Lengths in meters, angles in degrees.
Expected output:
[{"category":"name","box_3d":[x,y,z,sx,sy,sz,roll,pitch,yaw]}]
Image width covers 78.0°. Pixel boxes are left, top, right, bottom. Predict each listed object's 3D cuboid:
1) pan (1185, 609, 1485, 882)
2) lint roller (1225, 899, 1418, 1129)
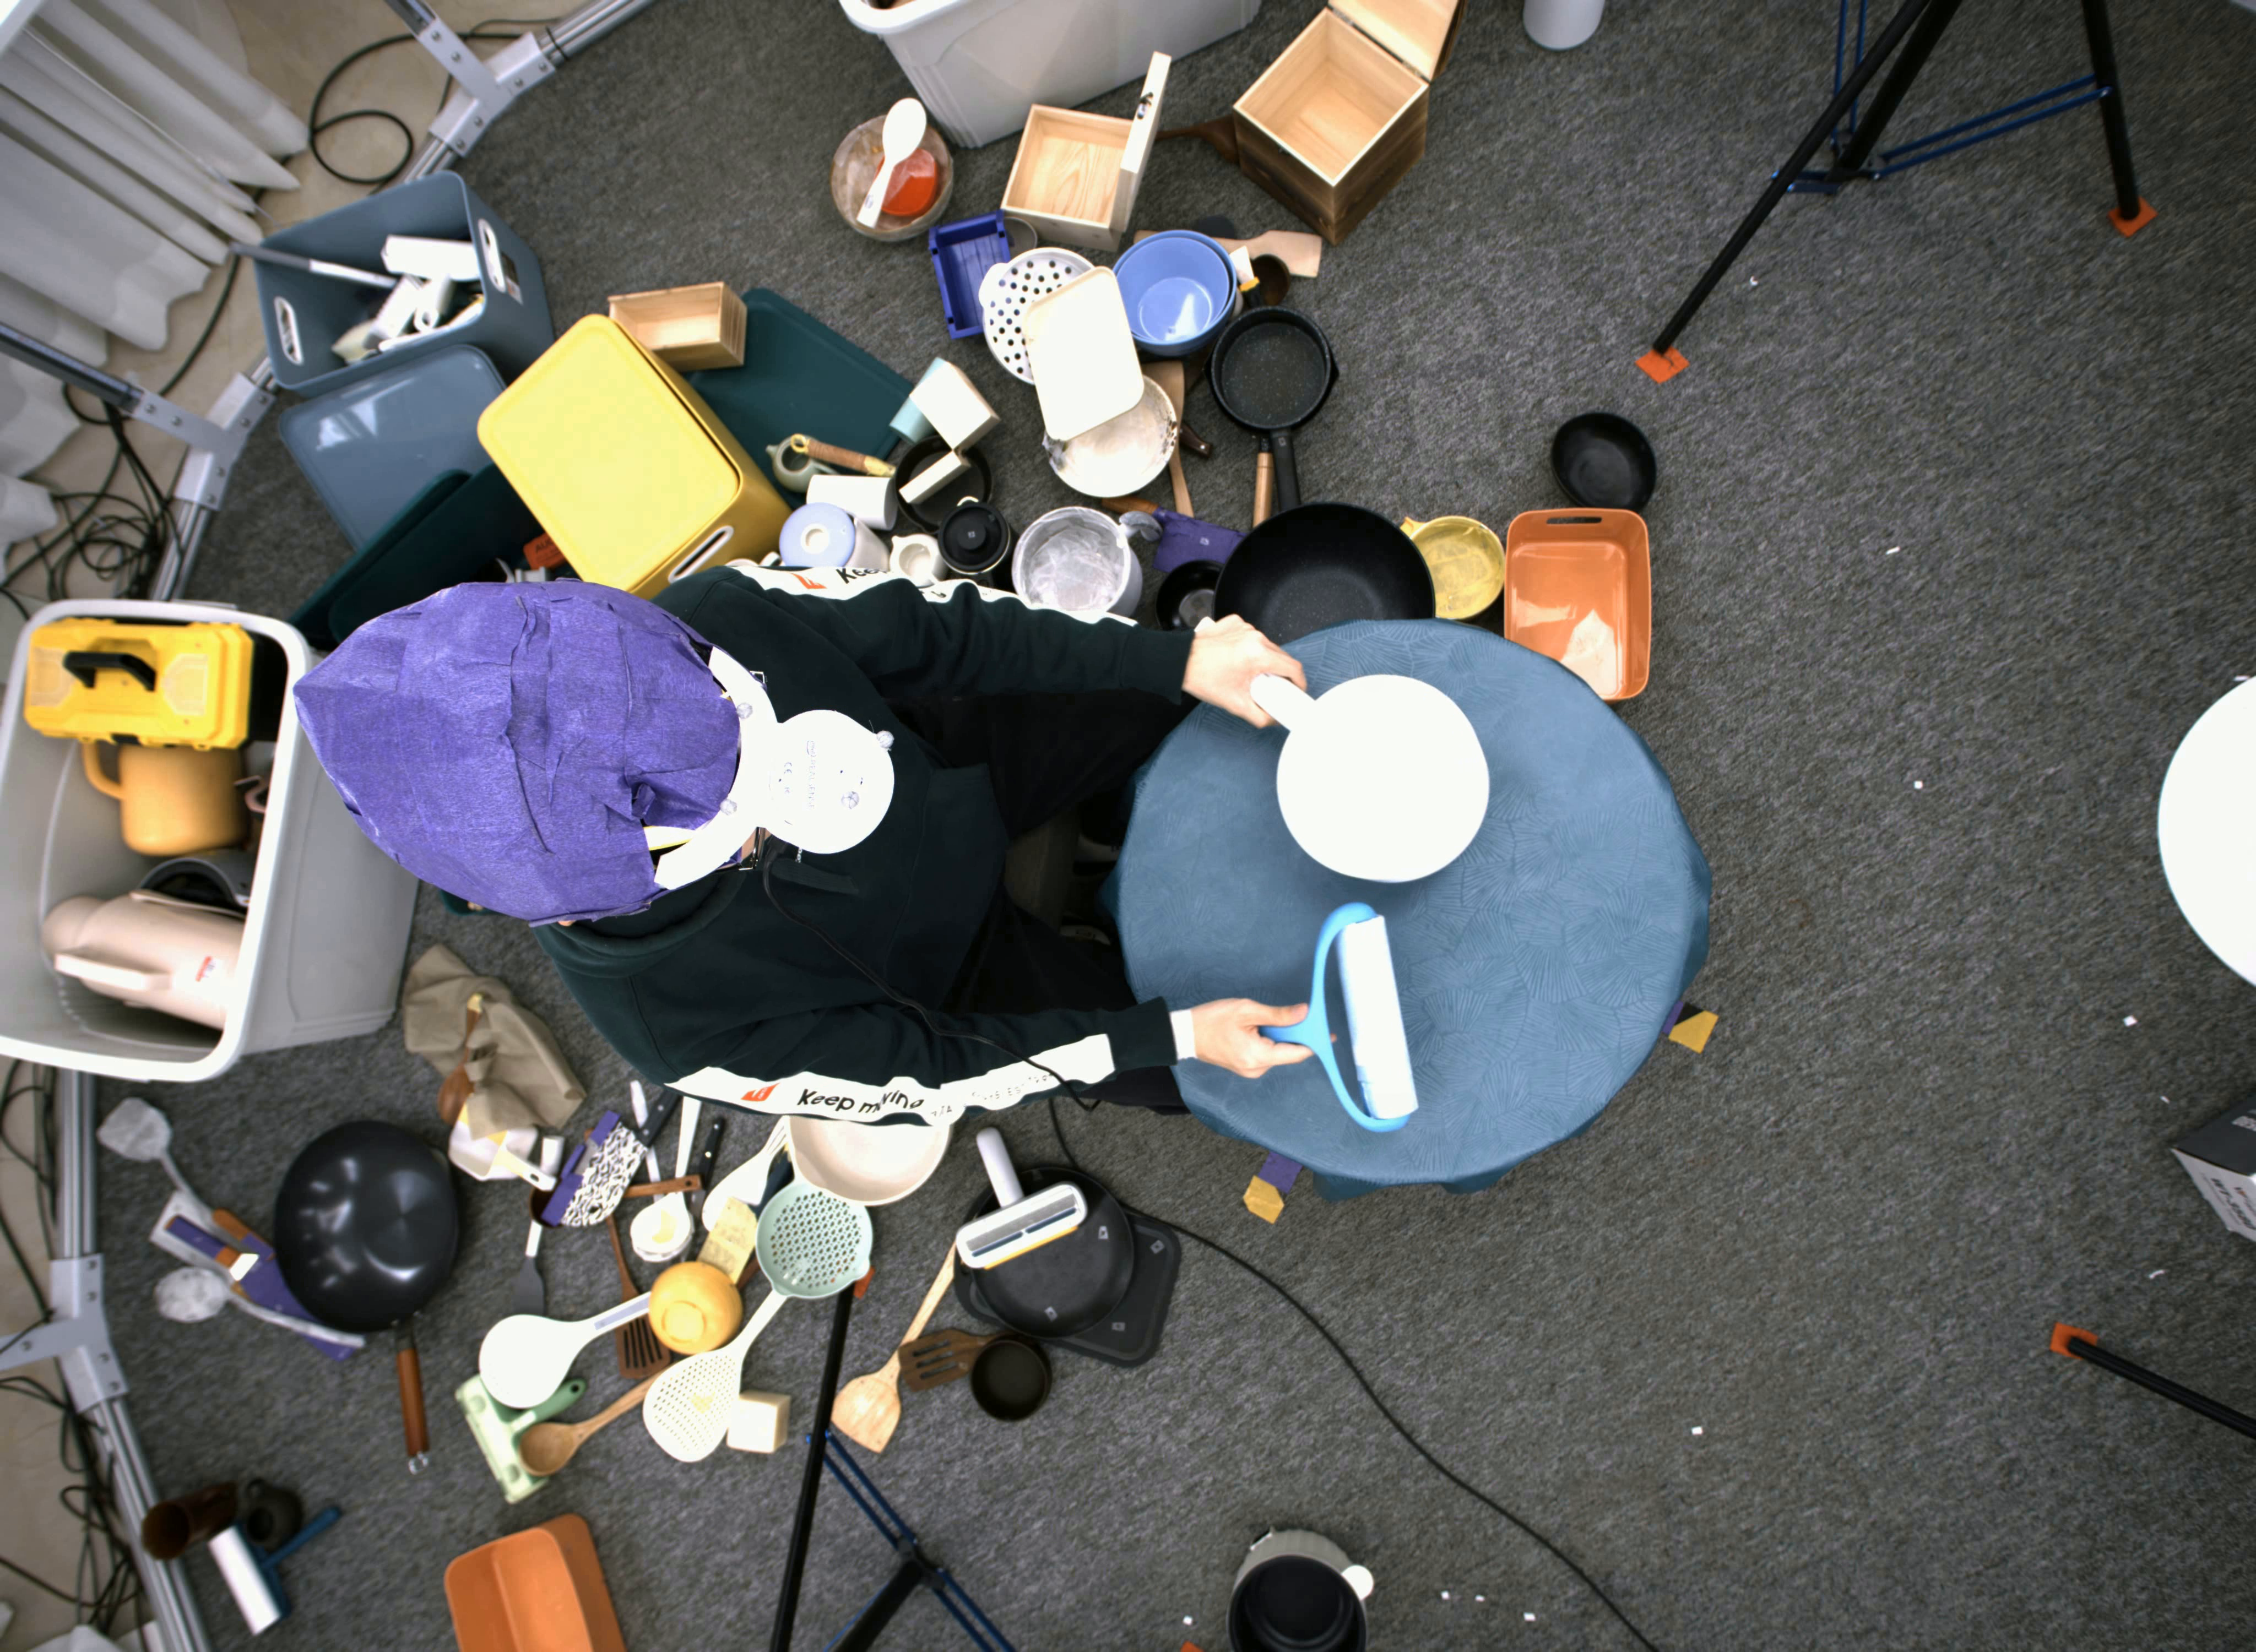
[{"category":"pan","box_3d":[0.203,-0.093,1.401,0.351,0.102,0.203,44,102,22]},{"category":"lint roller","box_3d":[0.182,0.197,1.366,0.181,0.067,0.230,-13,96,11]}]
